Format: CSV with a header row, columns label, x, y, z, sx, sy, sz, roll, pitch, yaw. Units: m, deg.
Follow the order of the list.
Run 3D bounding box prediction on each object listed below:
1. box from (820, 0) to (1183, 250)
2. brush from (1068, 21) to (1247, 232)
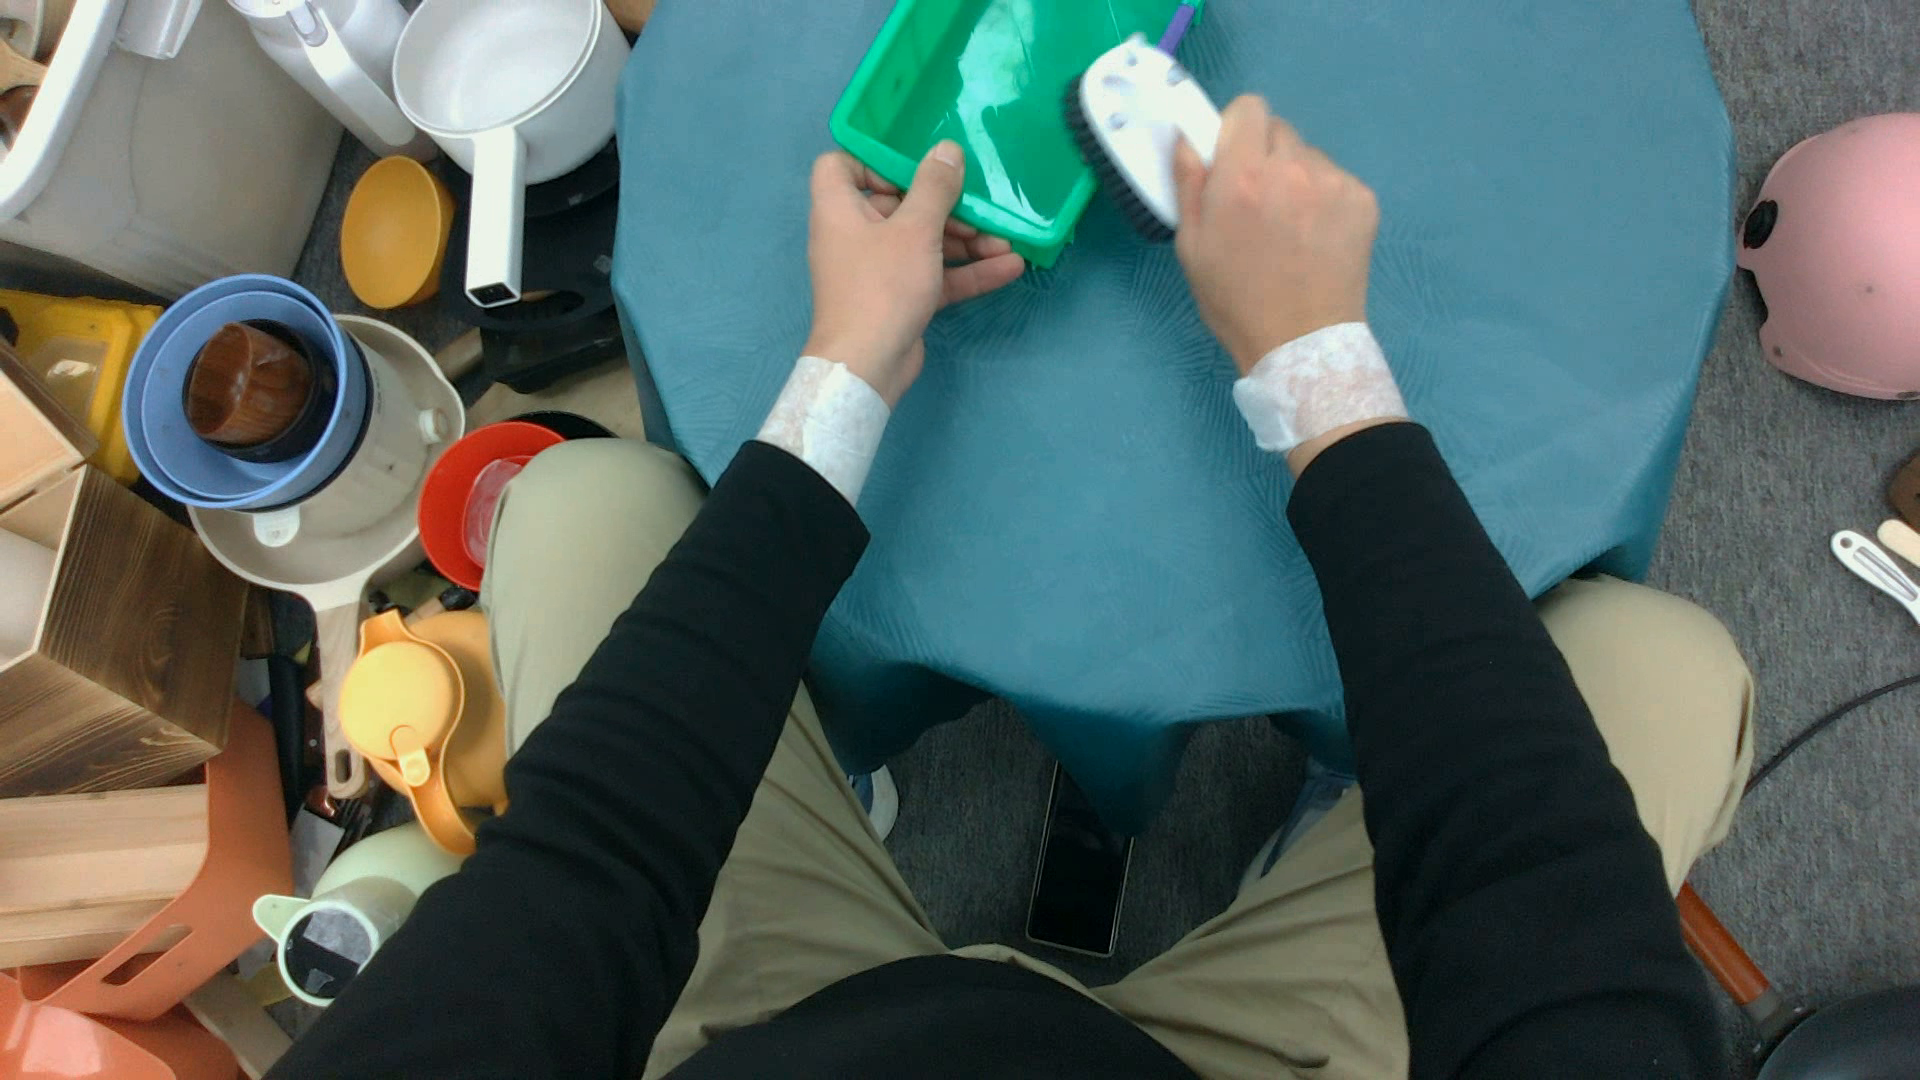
label,x,y,z,sx,sy,sz,roll,pitch,yaw
box,0.033,-0.265,0.735,0.138,0.065,0.211,28,81,6
brush,0.102,-0.201,0.664,0.050,0.072,0.099,-34,104,-20
